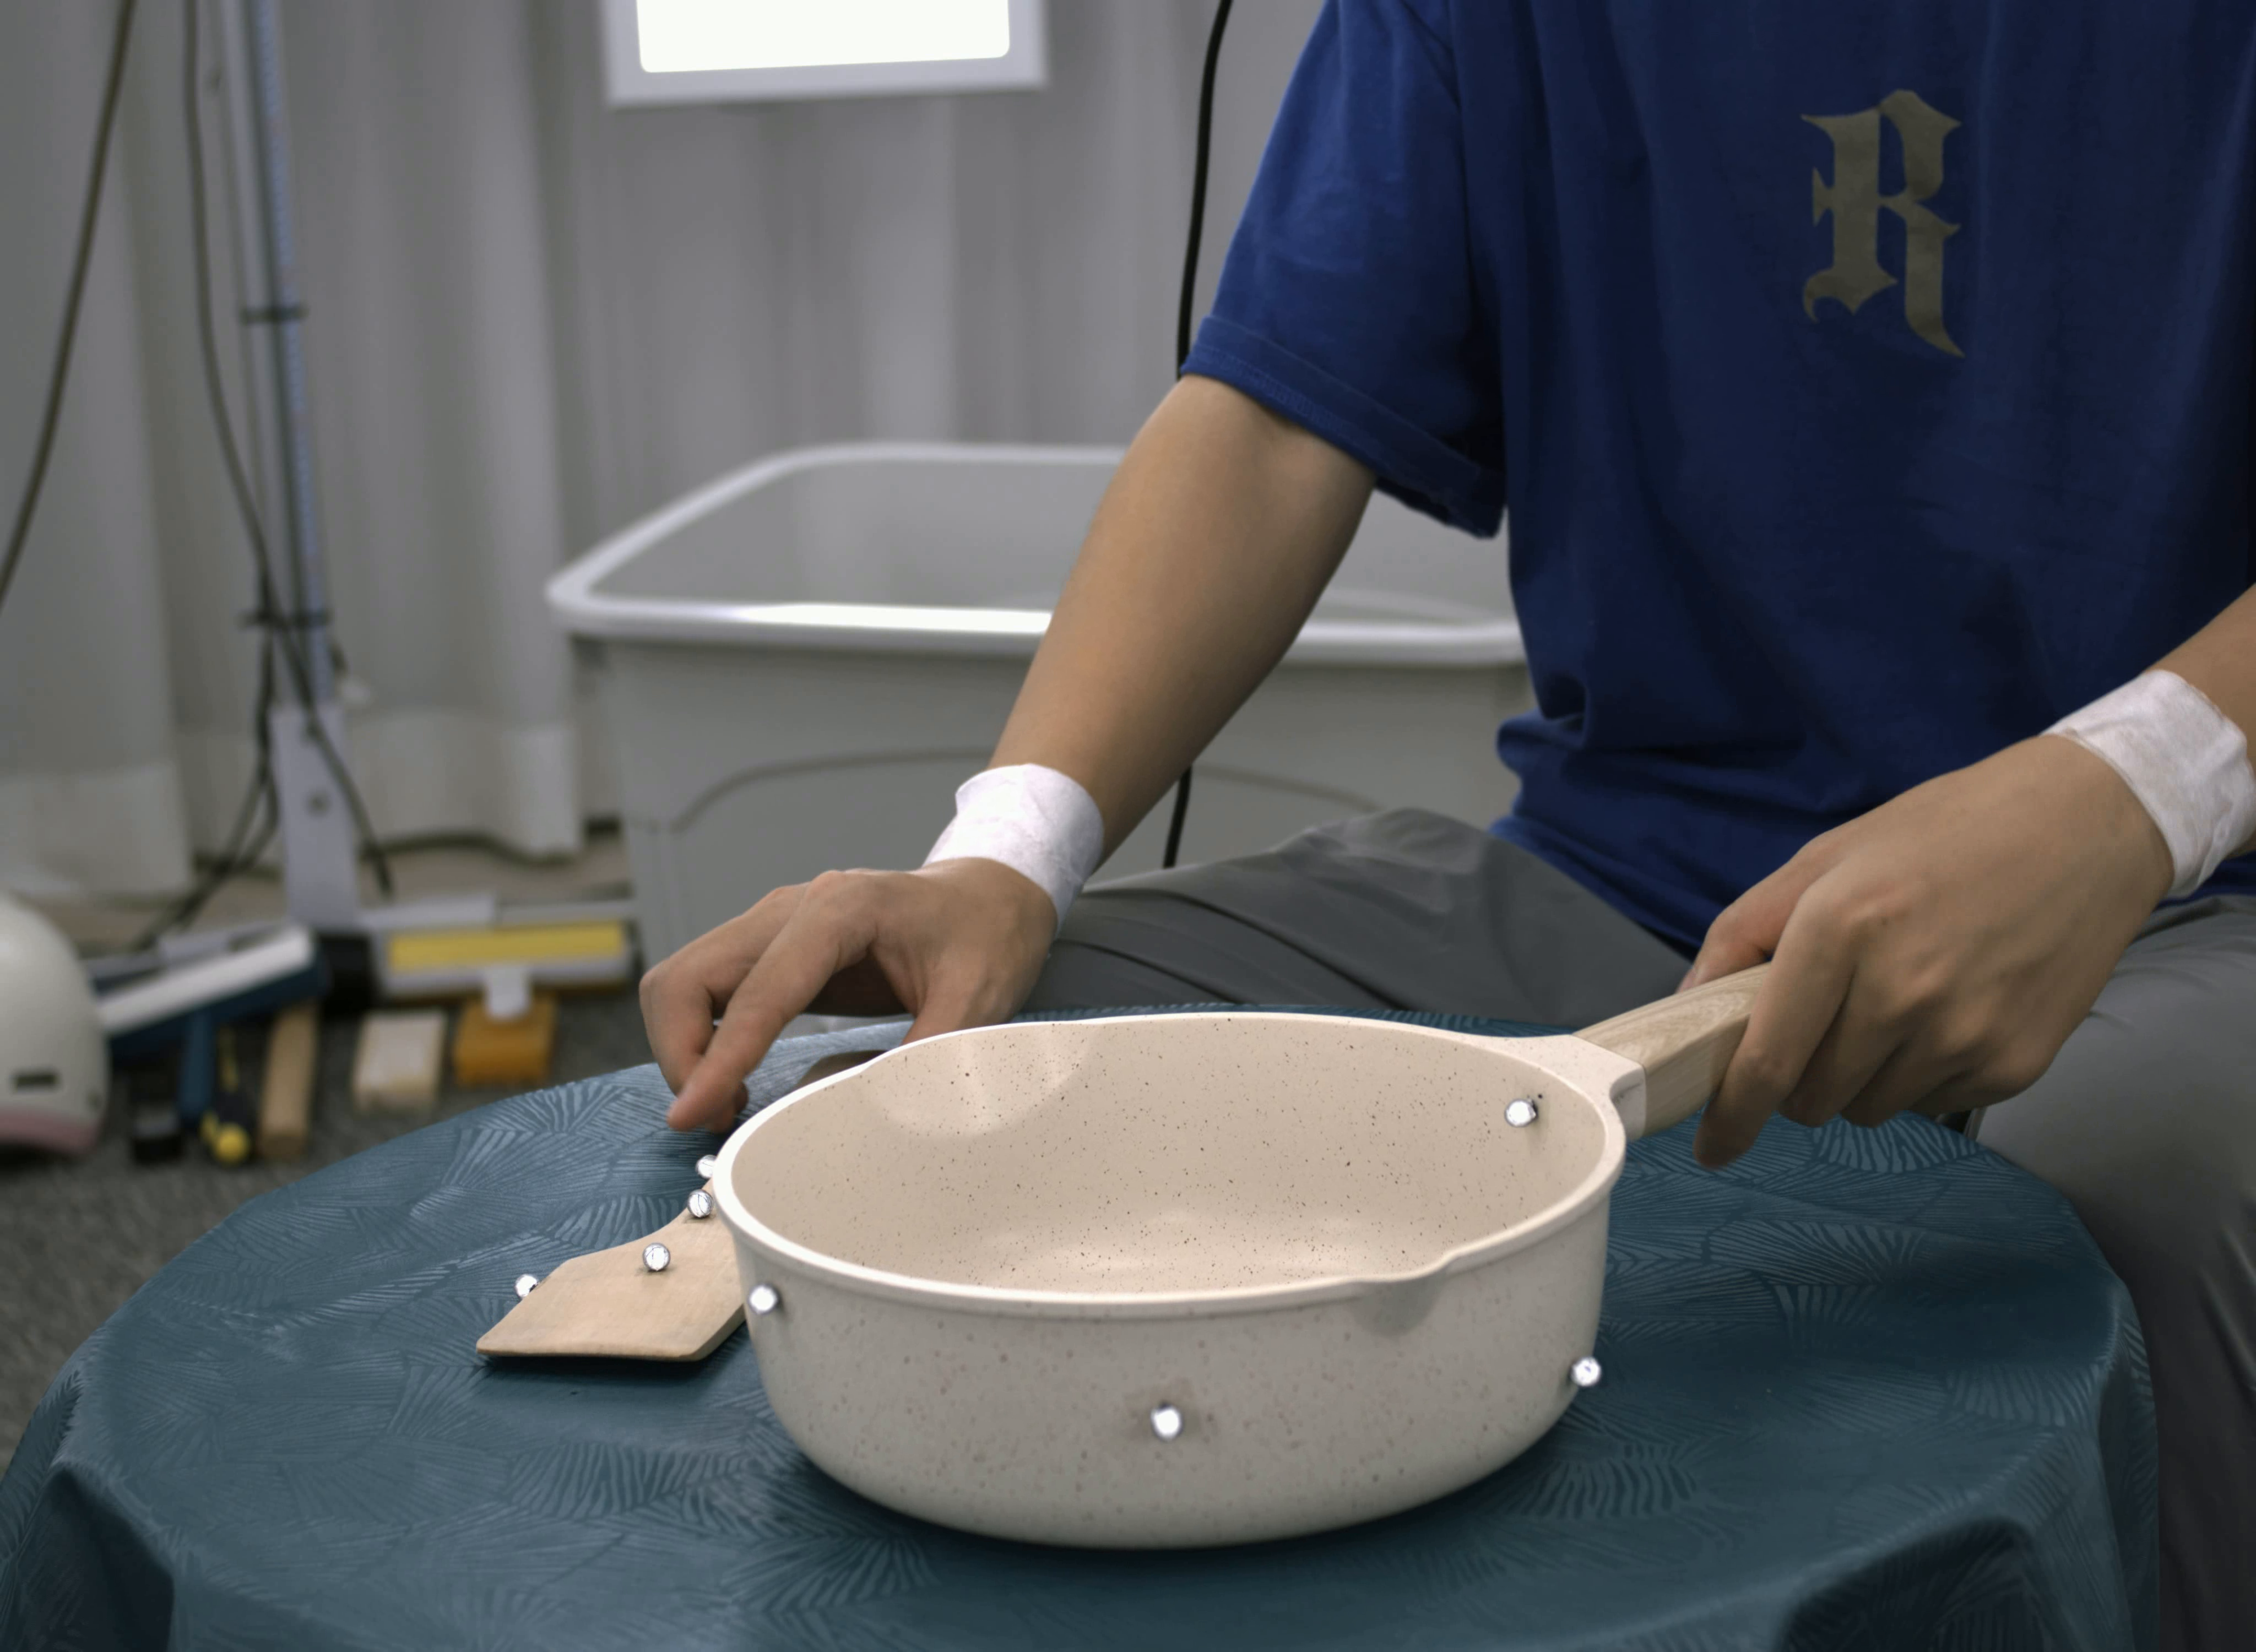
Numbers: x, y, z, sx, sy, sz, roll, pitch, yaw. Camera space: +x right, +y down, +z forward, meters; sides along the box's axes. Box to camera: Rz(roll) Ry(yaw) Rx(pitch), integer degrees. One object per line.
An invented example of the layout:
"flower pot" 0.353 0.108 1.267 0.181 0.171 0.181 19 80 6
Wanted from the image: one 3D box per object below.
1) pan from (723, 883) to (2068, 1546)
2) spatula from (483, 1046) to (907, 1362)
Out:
"pan" 0.095 0.103 1.541 0.433 0.101 0.265 -11 15 -28
"spatula" -0.121 0.116 1.710 0.072 0.010 0.294 0 15 14
